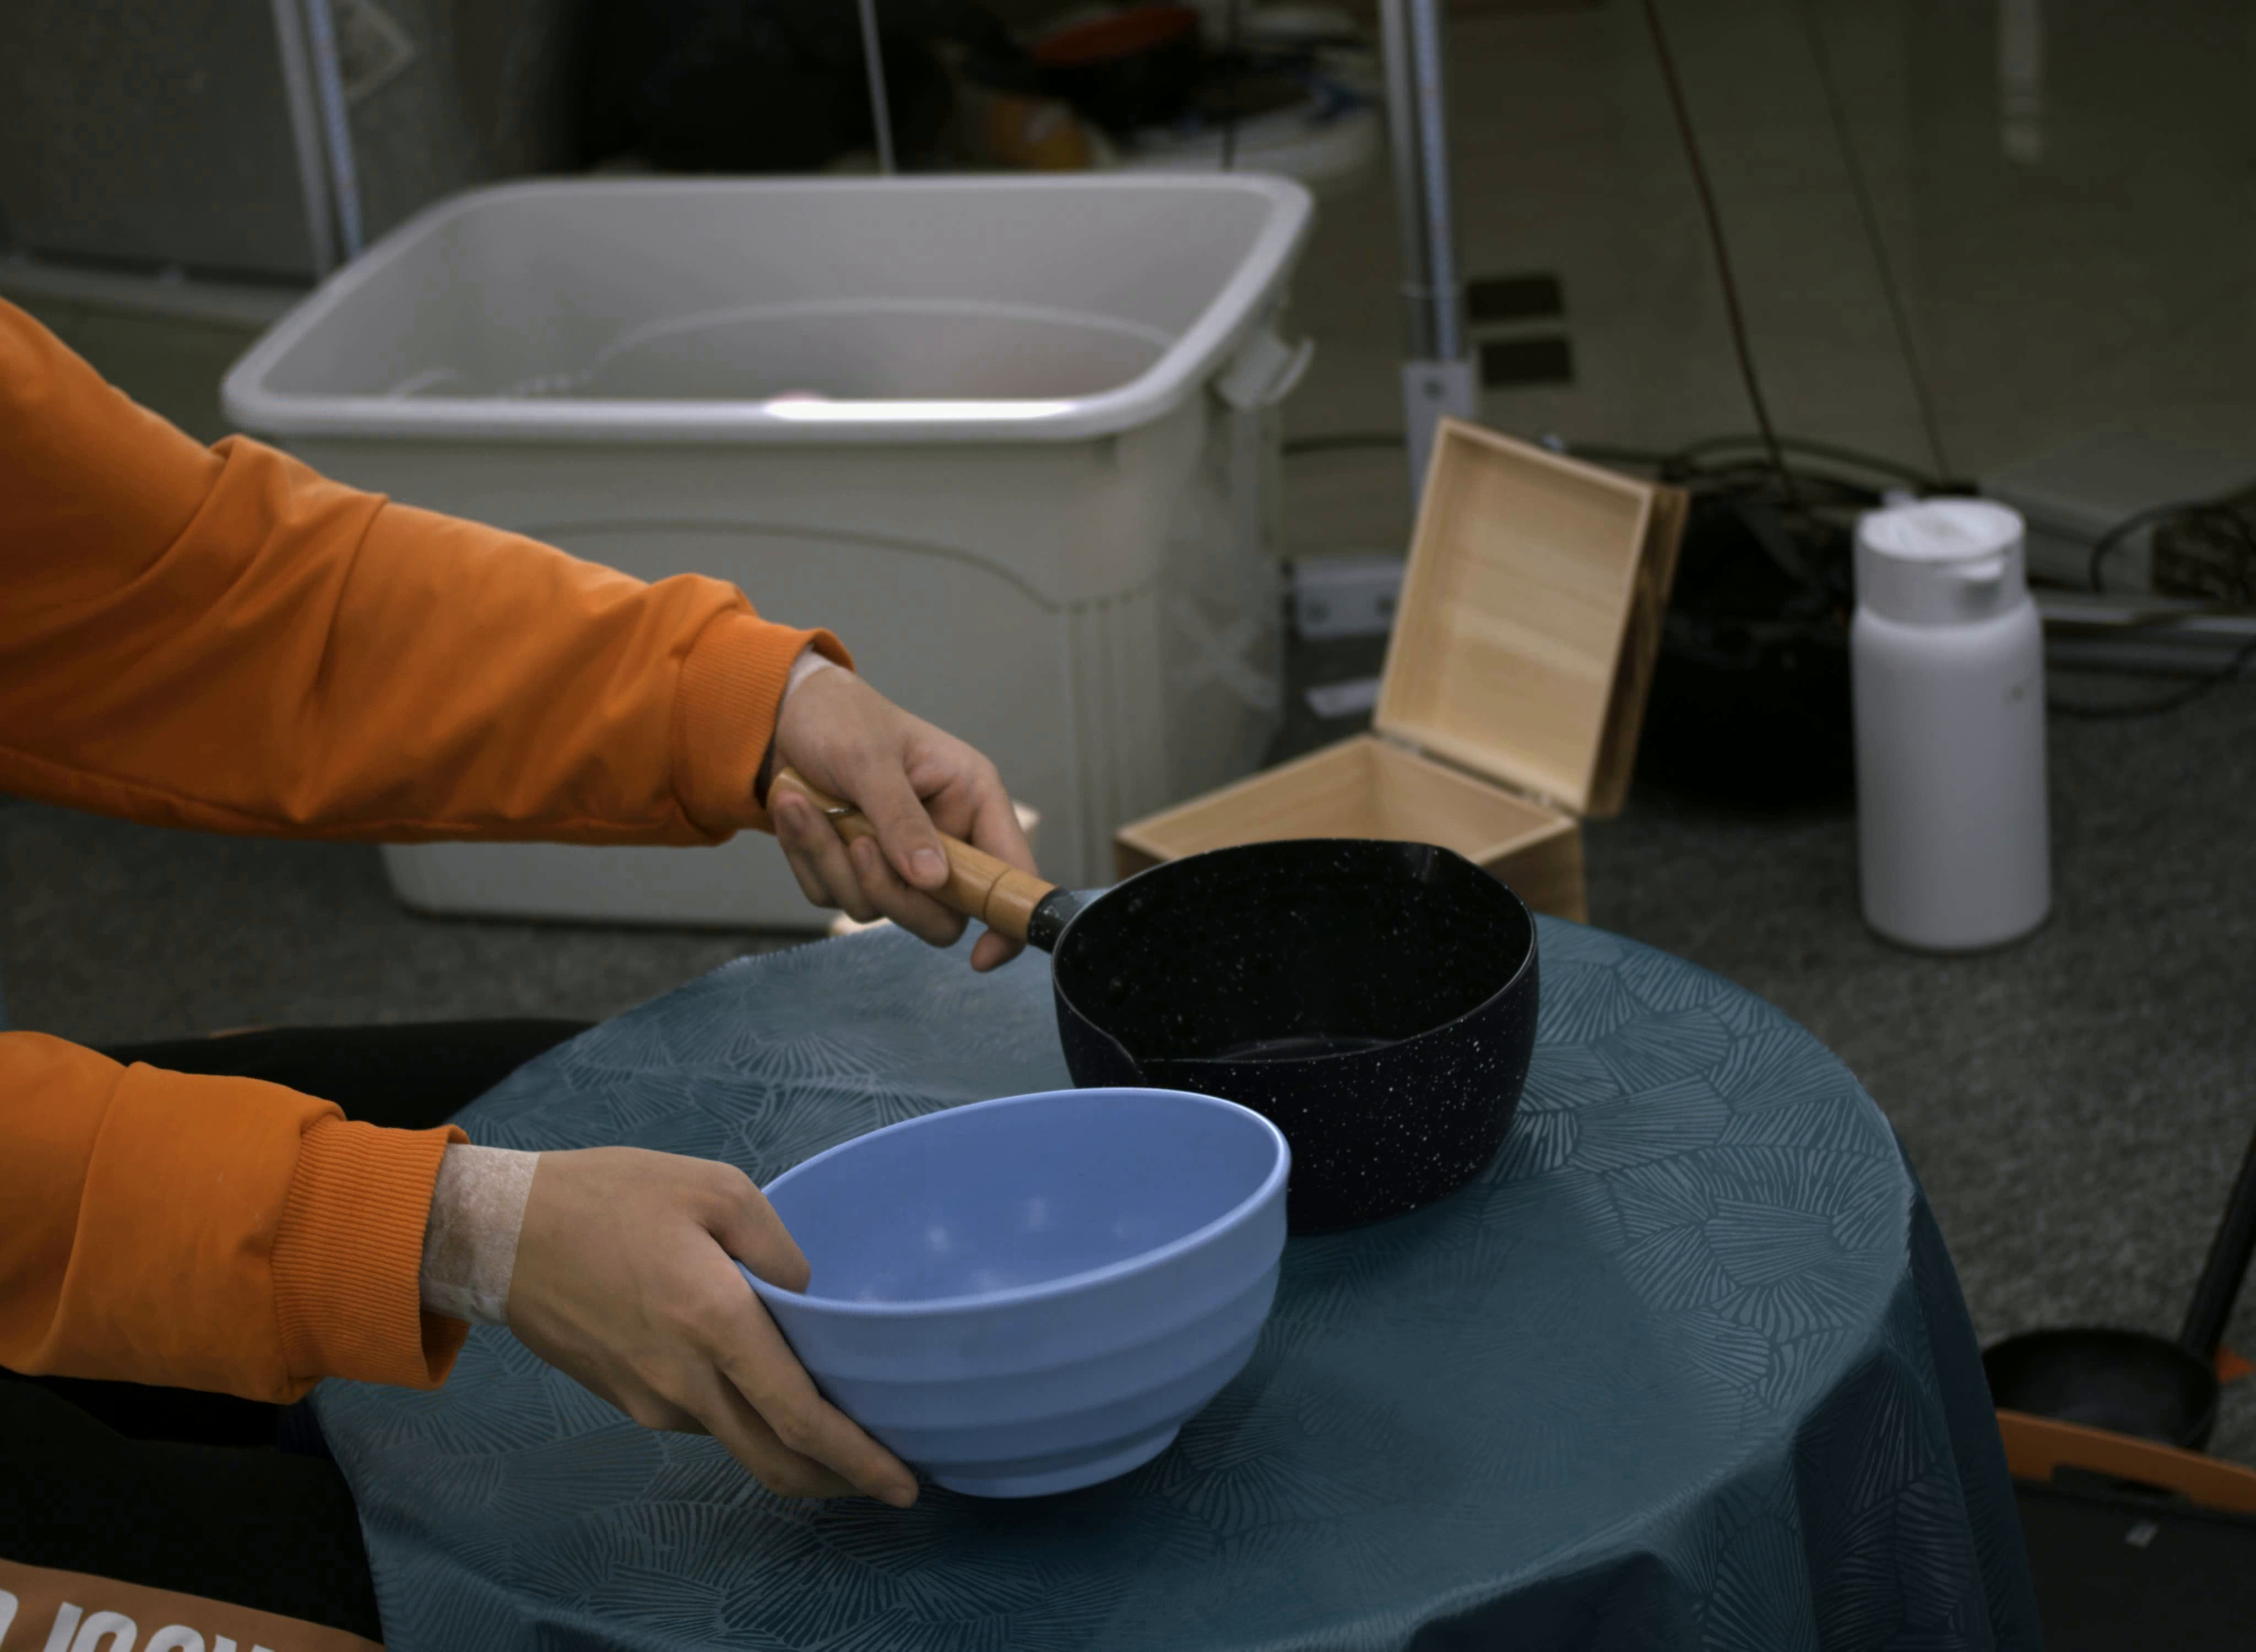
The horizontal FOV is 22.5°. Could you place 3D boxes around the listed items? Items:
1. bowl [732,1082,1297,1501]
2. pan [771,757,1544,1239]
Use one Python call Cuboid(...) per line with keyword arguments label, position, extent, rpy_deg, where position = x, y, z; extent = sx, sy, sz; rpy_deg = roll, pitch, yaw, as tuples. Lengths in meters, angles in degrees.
Cuboid(label="bowl", position=(-0.033, 0.170, 1.958), extent=(0.196, 0.097, 0.194), rpy_deg=(-8, 20, 3))
Cuboid(label="pan", position=(0.001, 0.057, 2.185), extent=(0.341, 0.110, 0.205), rpy_deg=(14, 33, 32))
